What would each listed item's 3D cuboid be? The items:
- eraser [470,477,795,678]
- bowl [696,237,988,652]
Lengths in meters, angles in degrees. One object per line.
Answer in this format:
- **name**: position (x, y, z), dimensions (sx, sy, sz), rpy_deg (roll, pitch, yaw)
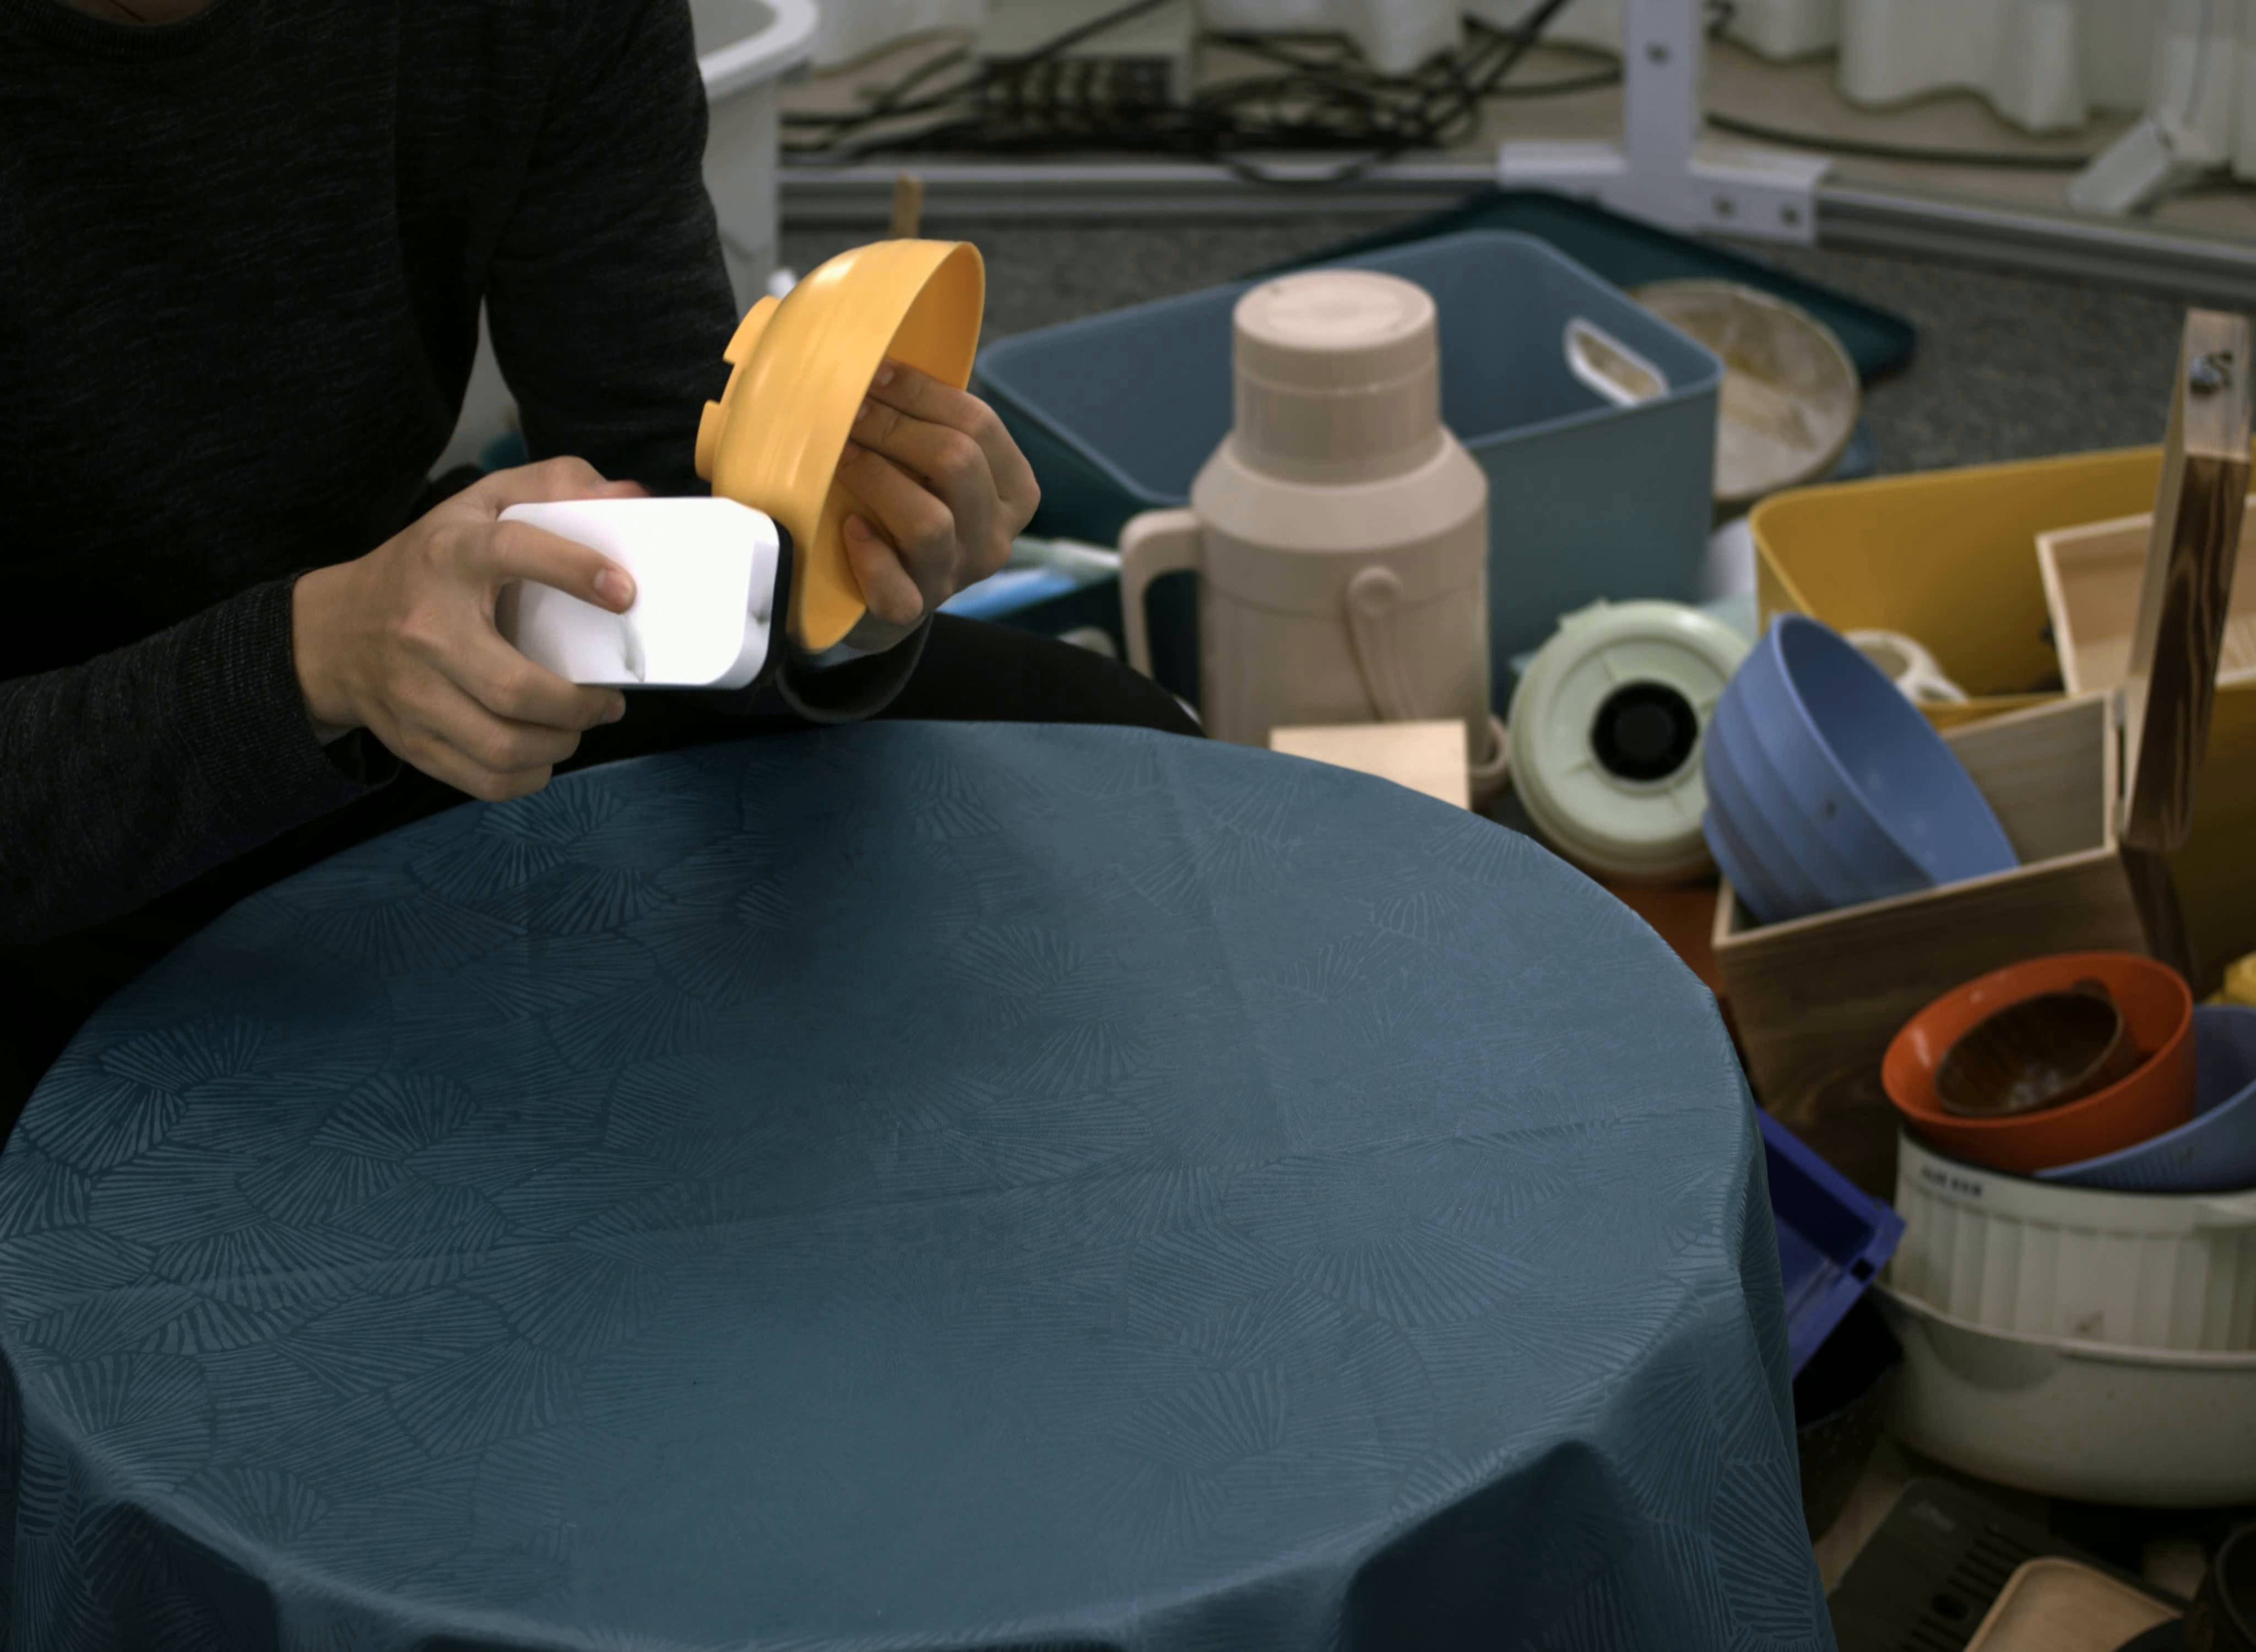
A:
- **eraser**: position (-0.164, -0.079, 1.828), dimensions (0.130, 0.064, 0.034), rpy_deg (1, -9, 42)
- **bowl**: position (-0.103, -0.135, 1.868), dimensions (0.060, 0.143, 0.148), rpy_deg (21, 32, 11)
